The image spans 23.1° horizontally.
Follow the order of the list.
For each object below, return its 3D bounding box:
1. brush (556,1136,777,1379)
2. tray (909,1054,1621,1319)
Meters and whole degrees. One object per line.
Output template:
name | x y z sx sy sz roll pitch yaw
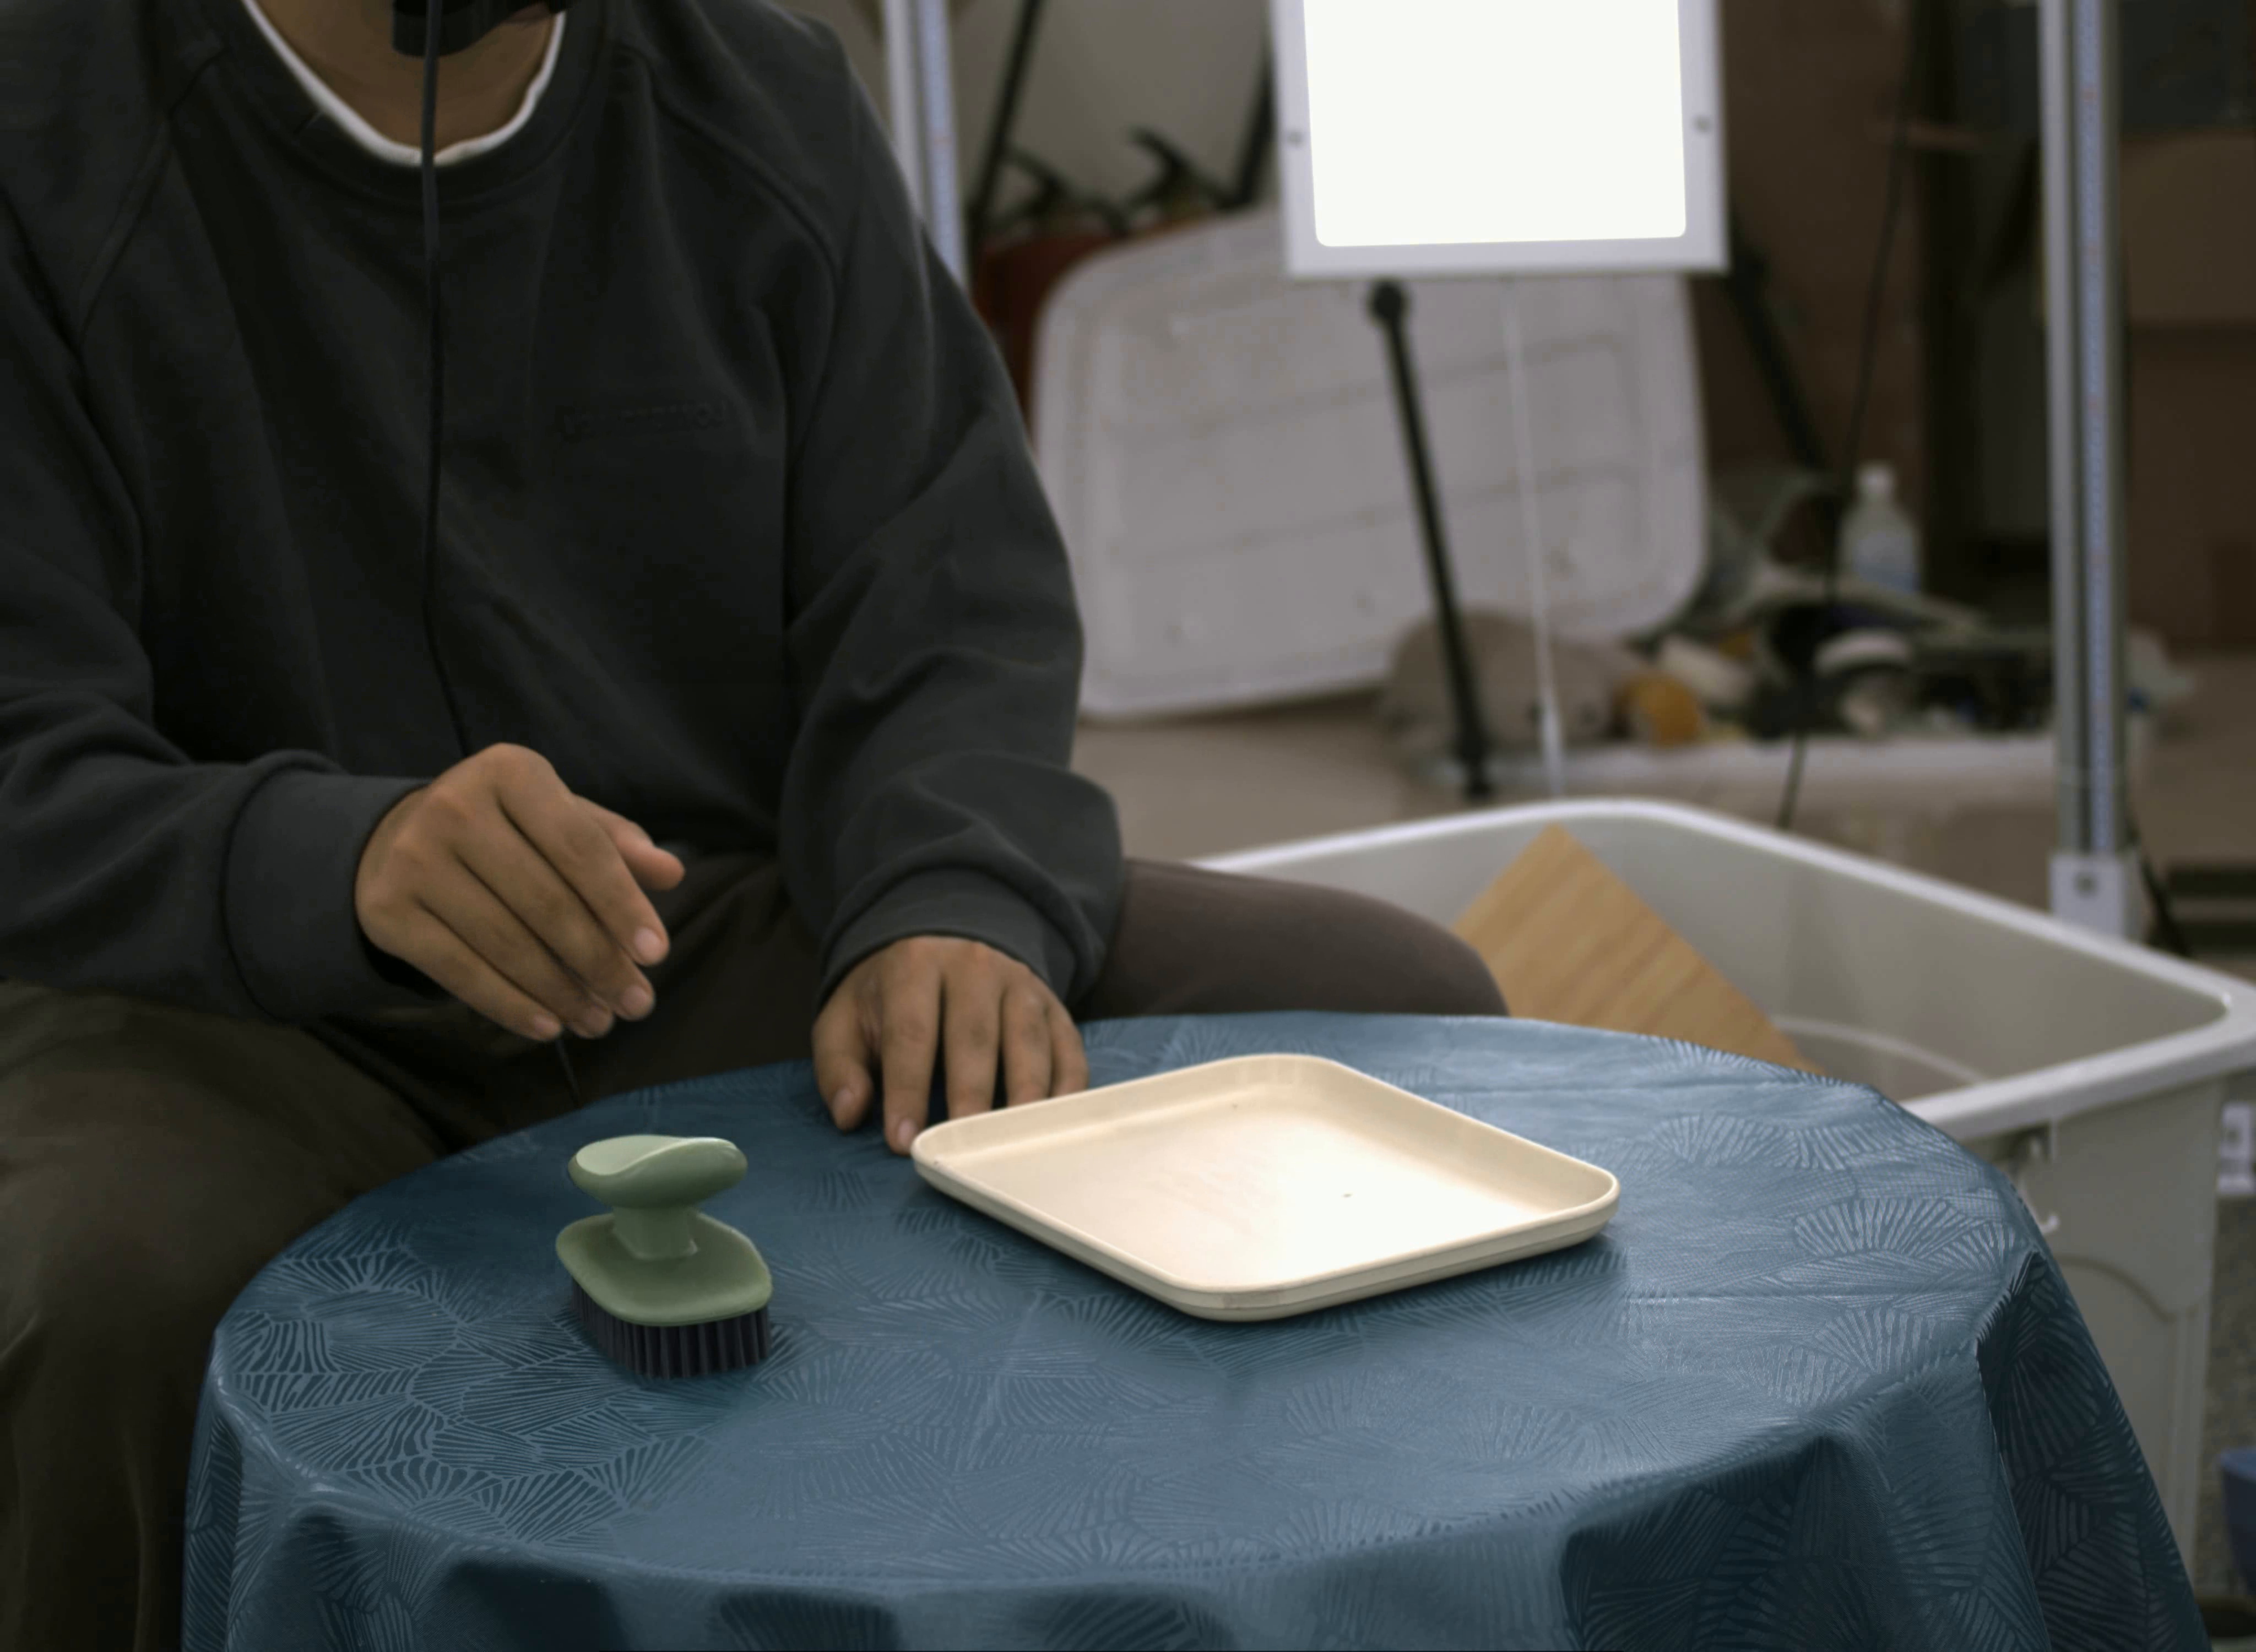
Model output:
brush | -0.150 0.138 1.793 0.058 0.076 0.124 -8 0 -18
tray | 0.044 0.121 1.867 0.167 0.017 0.244 -11 15 -26
